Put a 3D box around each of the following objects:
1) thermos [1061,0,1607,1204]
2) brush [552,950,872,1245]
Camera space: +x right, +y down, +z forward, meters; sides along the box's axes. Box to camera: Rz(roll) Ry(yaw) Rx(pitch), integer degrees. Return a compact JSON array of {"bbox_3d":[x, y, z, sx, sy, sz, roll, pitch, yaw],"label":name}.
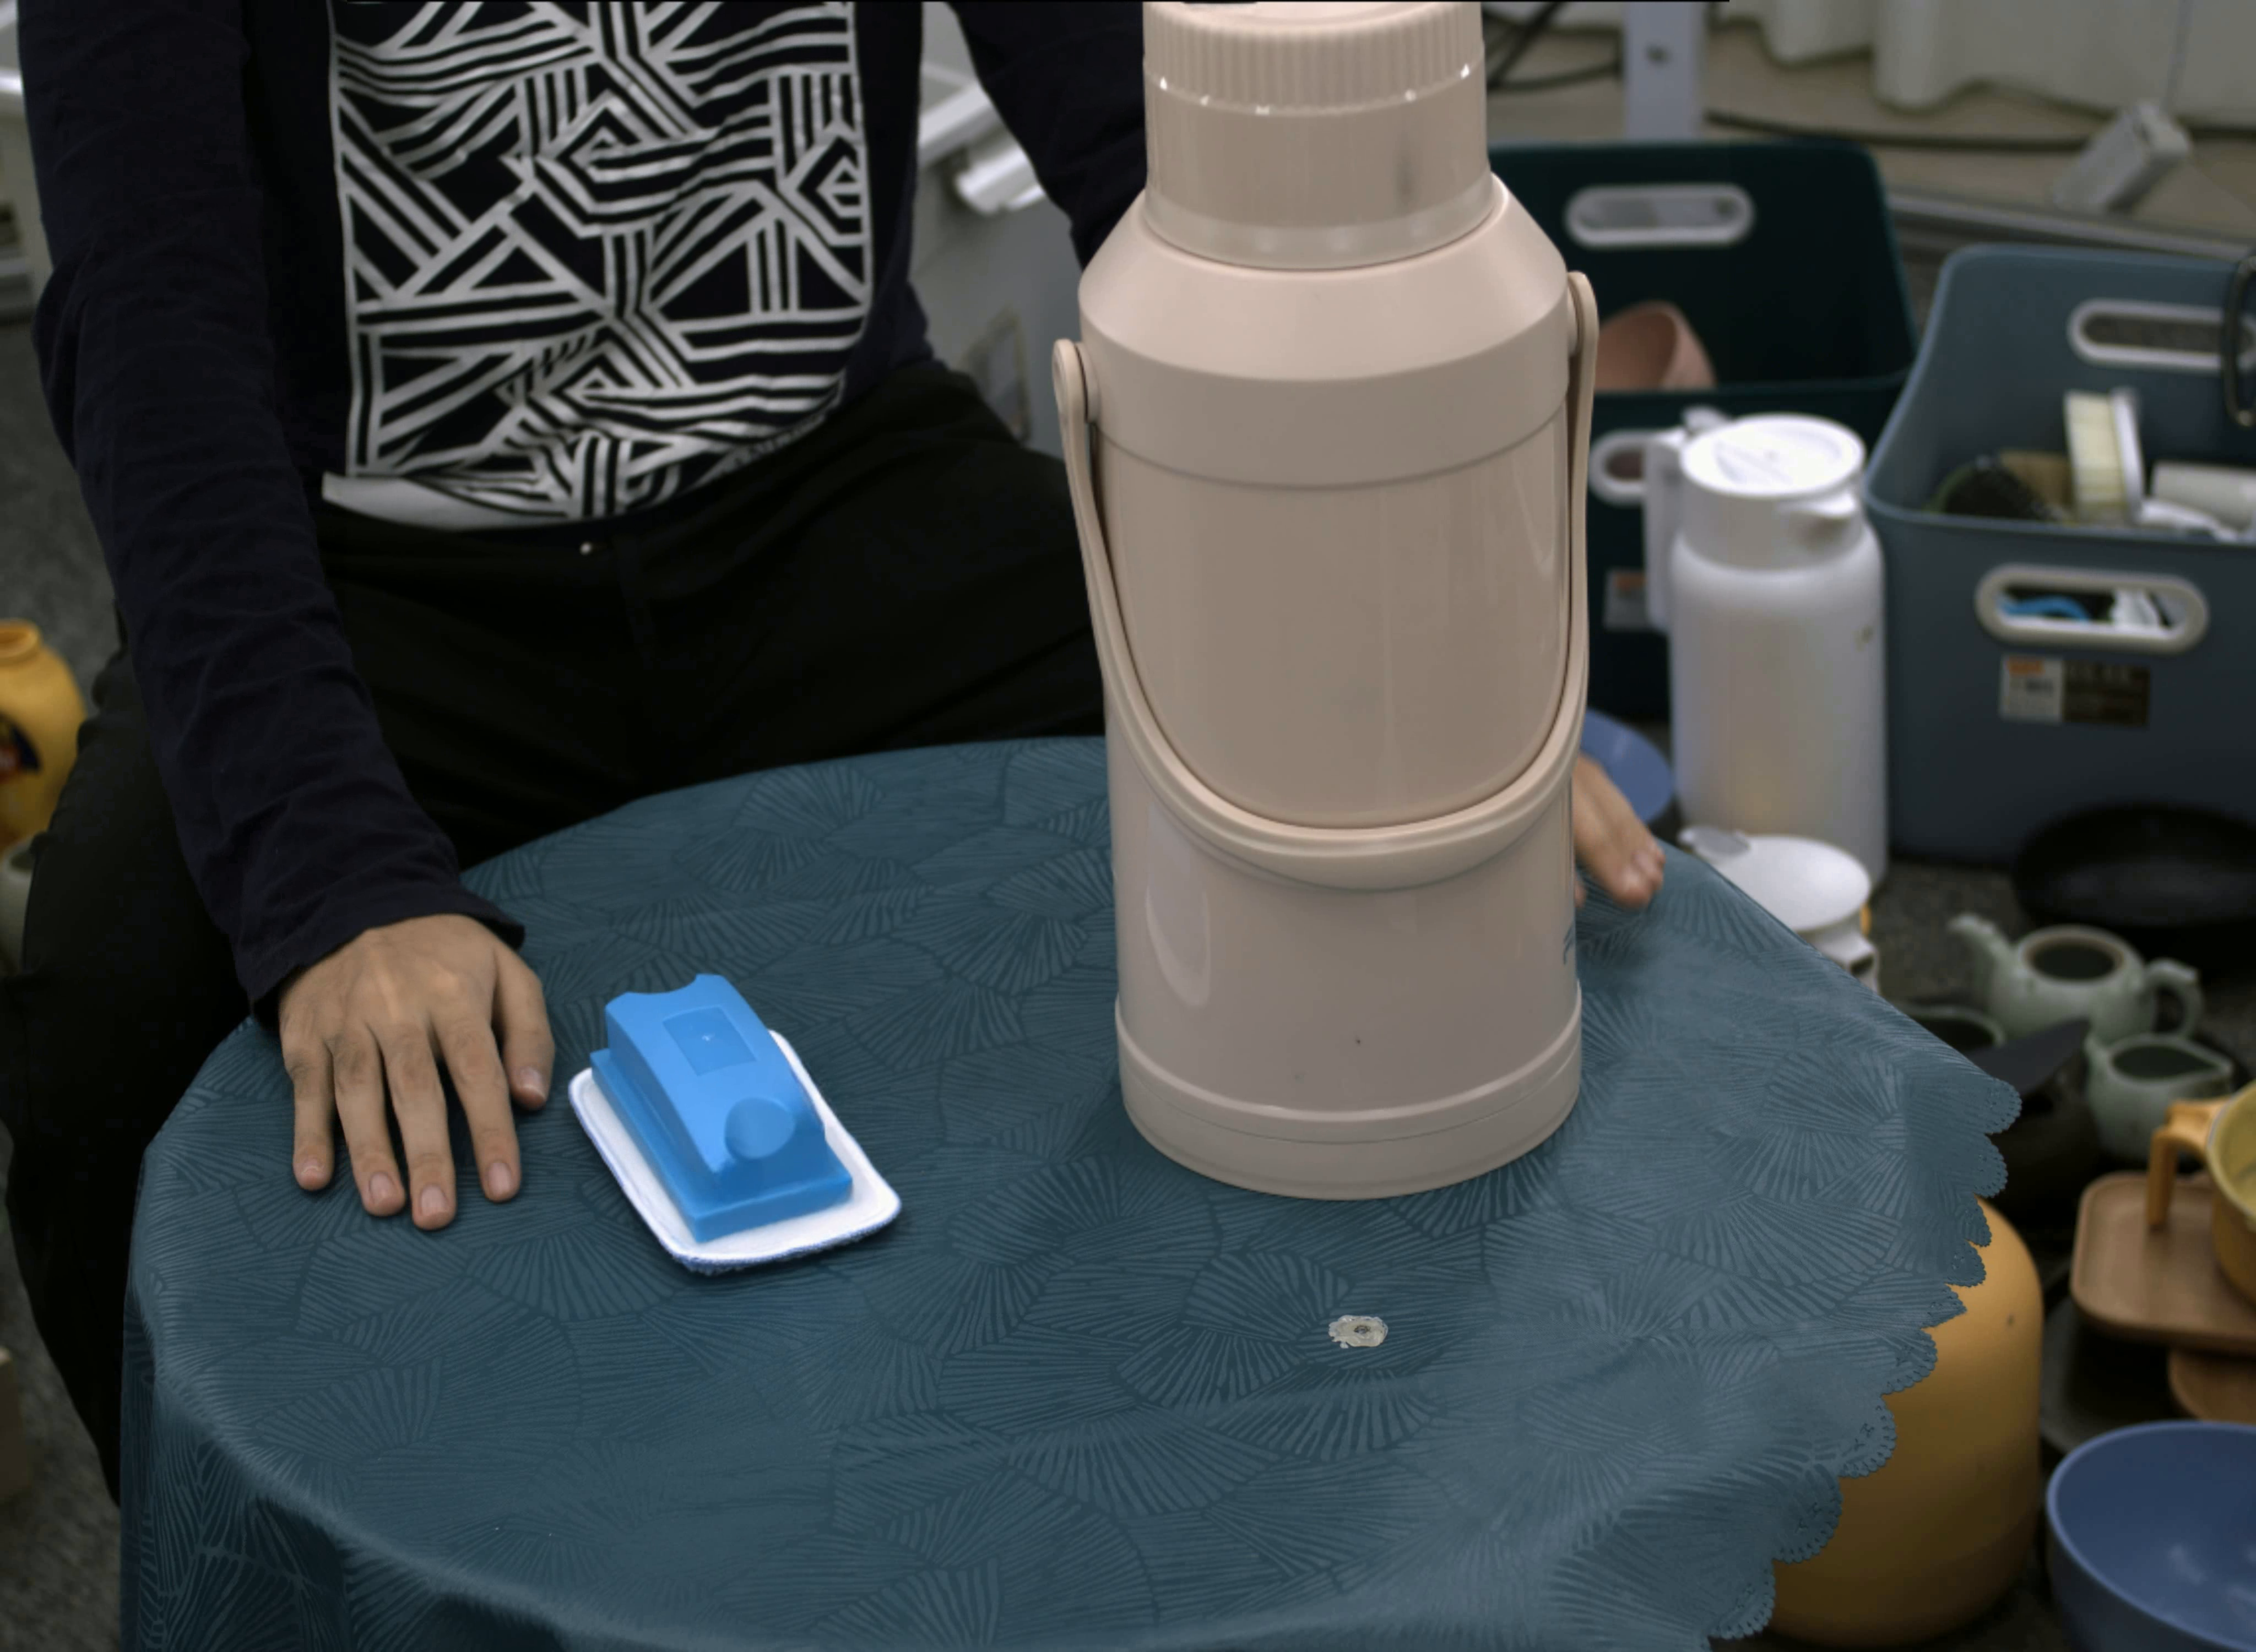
[{"bbox_3d":[0.069,-0.094,1.844,0.175,0.402,0.209,-10,26,-10],"label":"thermos"},{"bbox_3d":[-0.139,0.086,1.874,0.084,0.055,0.145,-9,30,-18],"label":"brush"}]
